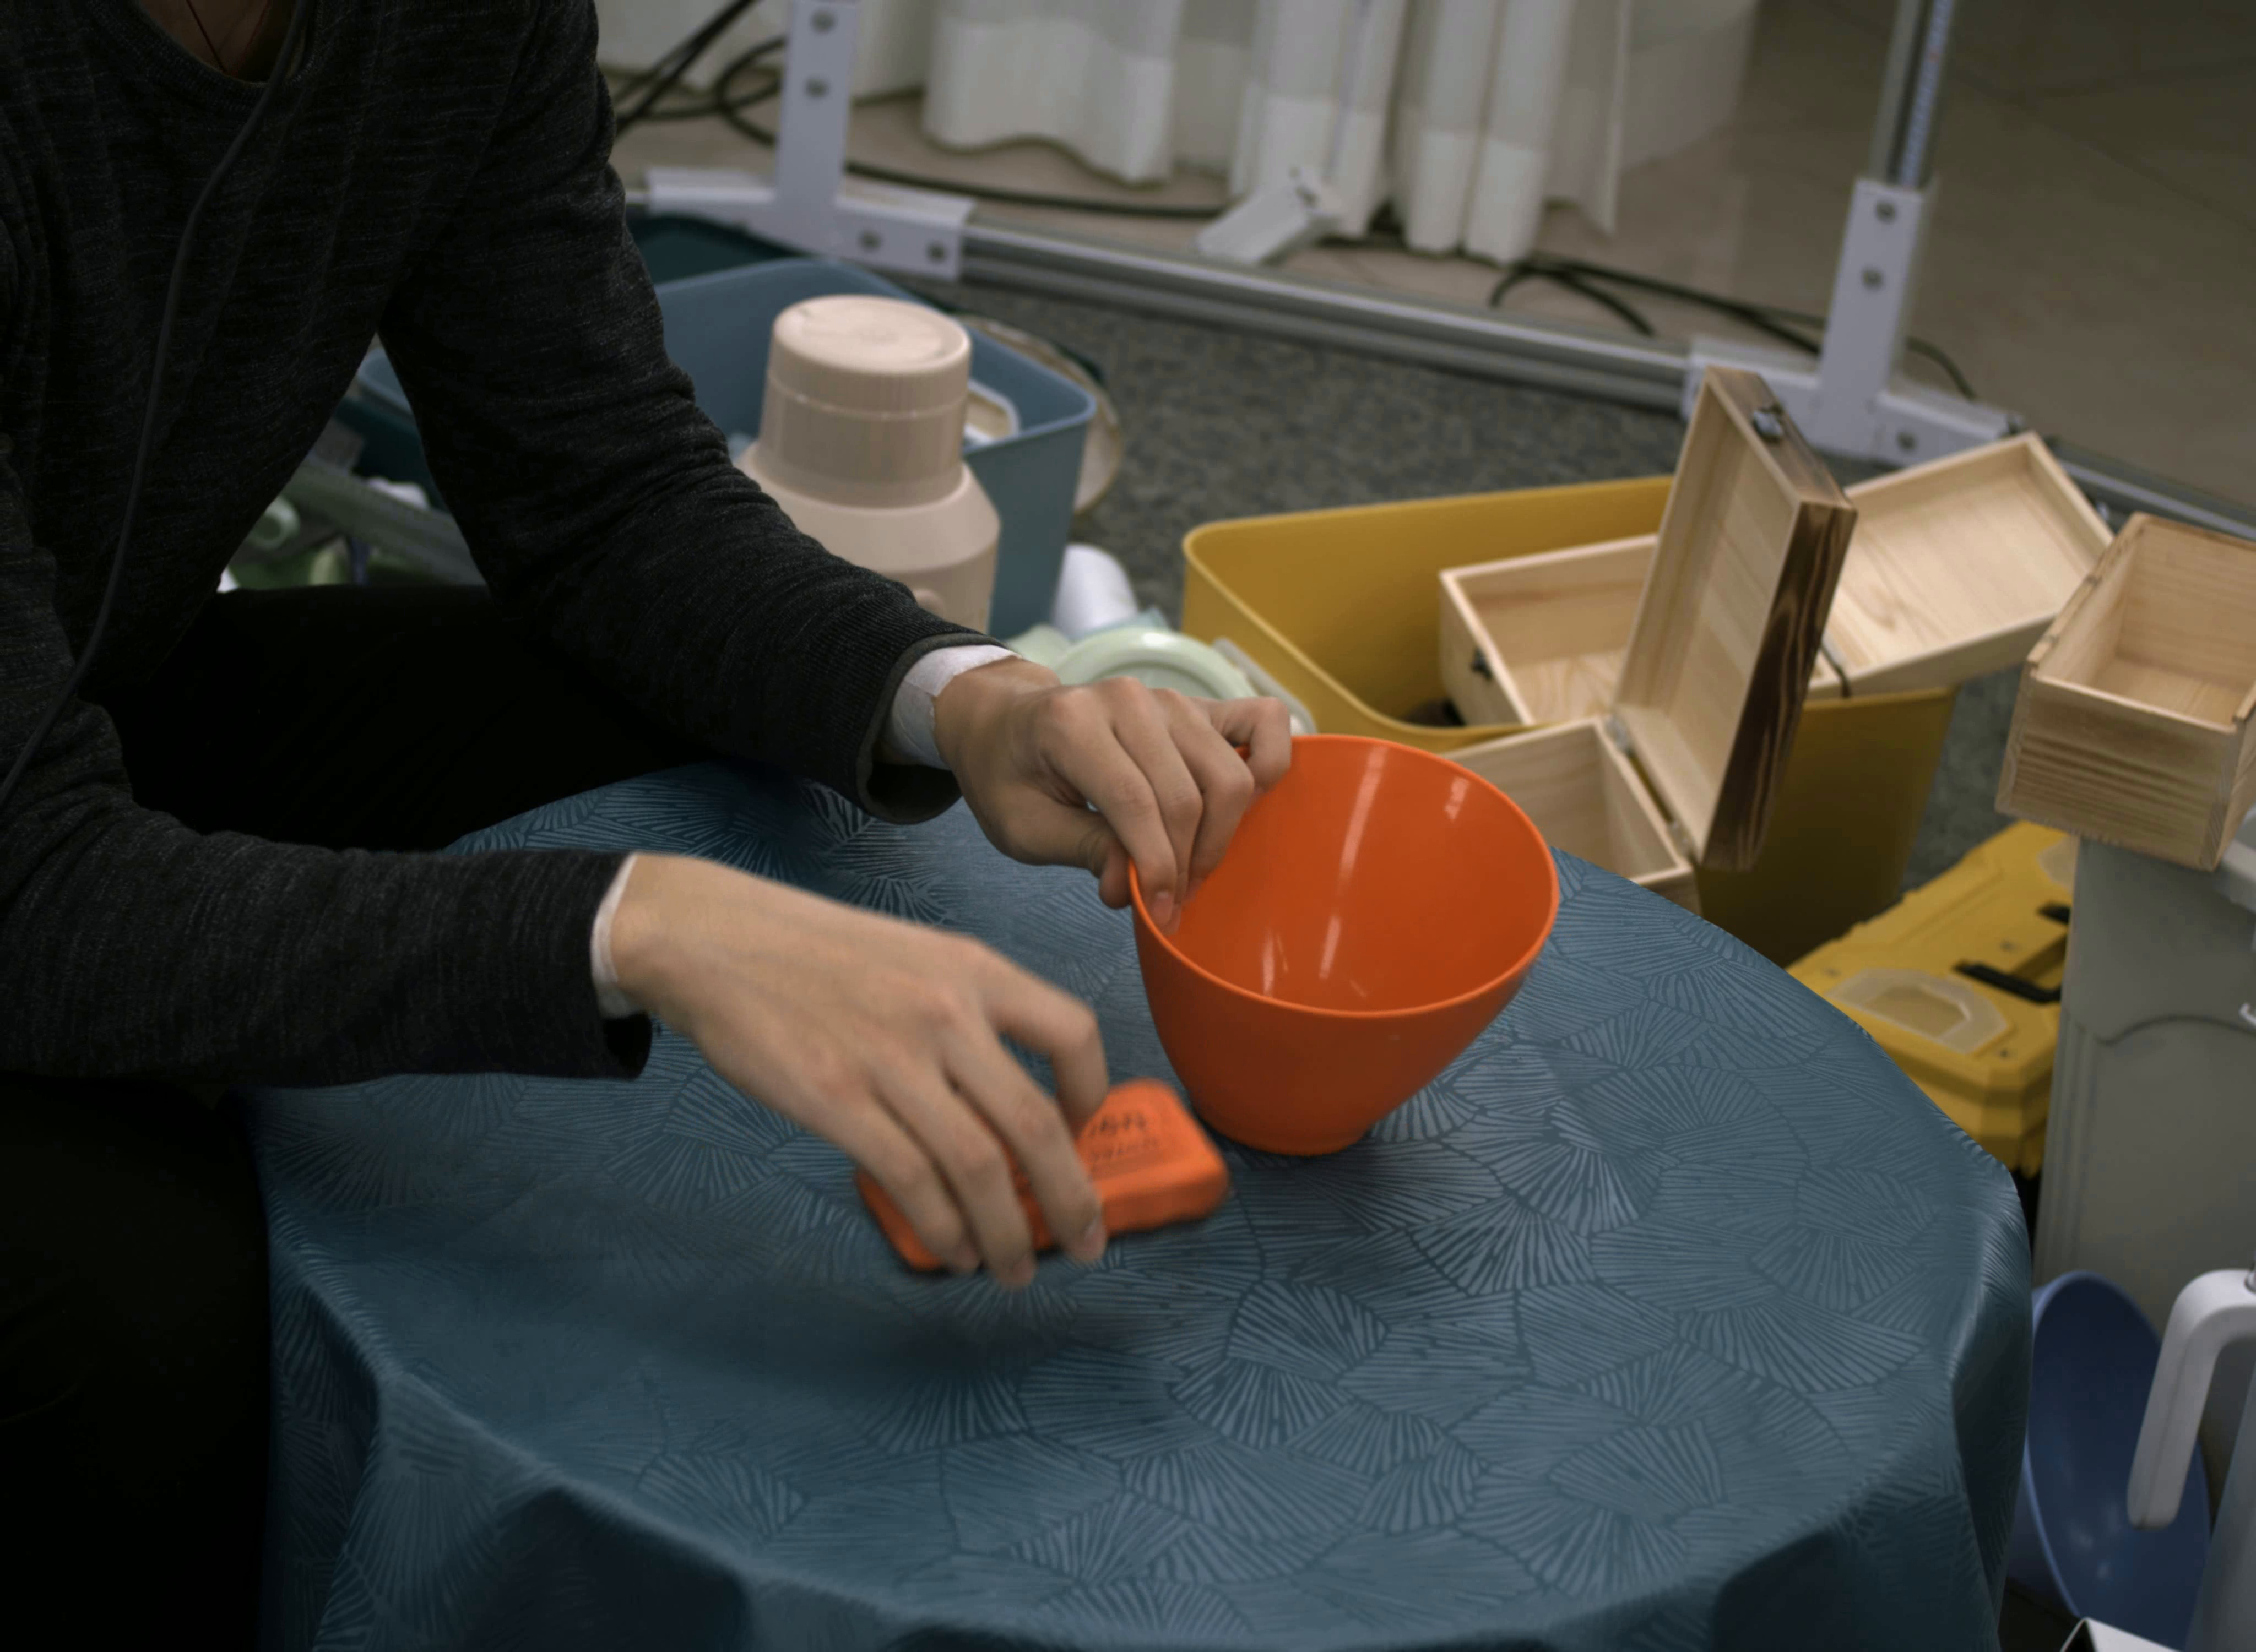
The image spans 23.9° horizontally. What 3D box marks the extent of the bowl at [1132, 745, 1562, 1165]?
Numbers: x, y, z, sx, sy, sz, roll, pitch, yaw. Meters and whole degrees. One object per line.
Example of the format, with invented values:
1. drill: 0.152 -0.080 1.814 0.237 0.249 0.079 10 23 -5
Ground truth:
1. bowl: 0.068 0.052 1.839 0.147 0.104 0.149 8 31 -5

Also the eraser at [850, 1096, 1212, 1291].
1. eraser: -0.031 0.117 1.696 0.107 0.023 0.059 -8 34 -21
